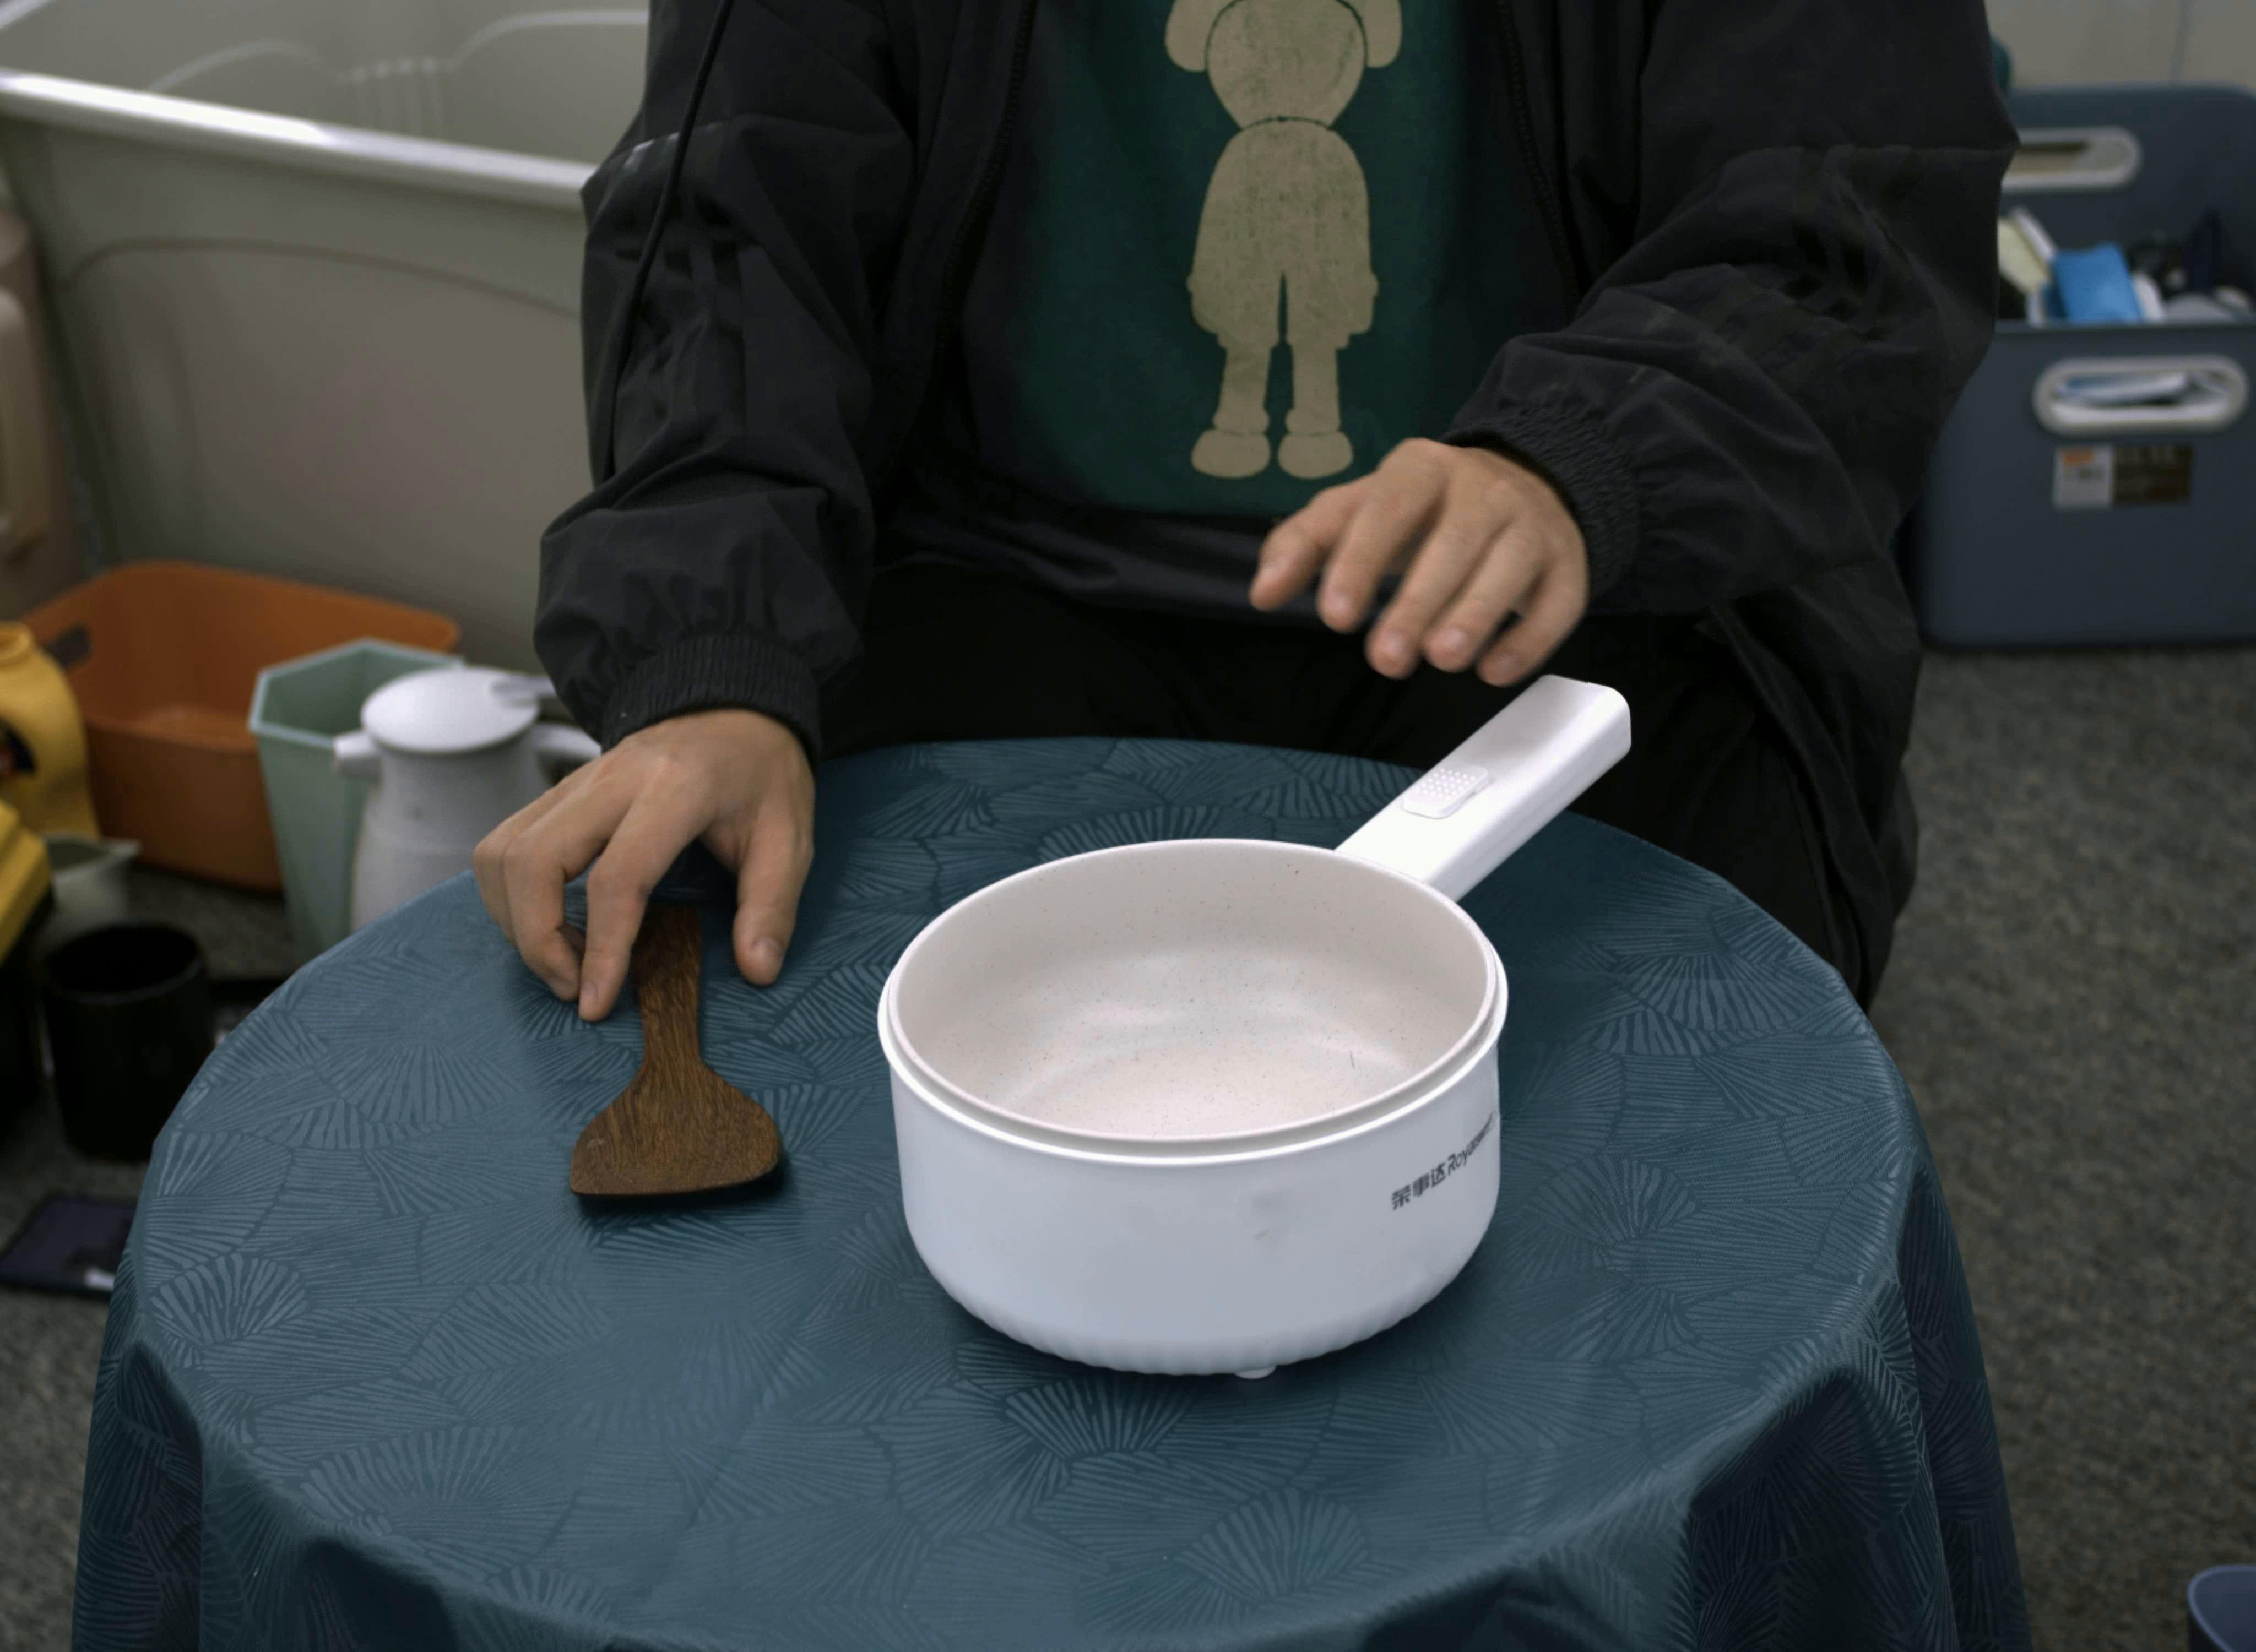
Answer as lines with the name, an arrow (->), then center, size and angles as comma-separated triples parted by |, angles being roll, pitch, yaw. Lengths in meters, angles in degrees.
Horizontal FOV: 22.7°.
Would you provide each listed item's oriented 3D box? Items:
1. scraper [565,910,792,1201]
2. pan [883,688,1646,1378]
scraper -> -0.158, 0.079, 1.949 | 0.075, 0.011, 0.214 | -4, 26, -4
pan -> 0.066, 0.064, 1.860 | 0.200, 0.101, 0.360 | 14, 30, 31
